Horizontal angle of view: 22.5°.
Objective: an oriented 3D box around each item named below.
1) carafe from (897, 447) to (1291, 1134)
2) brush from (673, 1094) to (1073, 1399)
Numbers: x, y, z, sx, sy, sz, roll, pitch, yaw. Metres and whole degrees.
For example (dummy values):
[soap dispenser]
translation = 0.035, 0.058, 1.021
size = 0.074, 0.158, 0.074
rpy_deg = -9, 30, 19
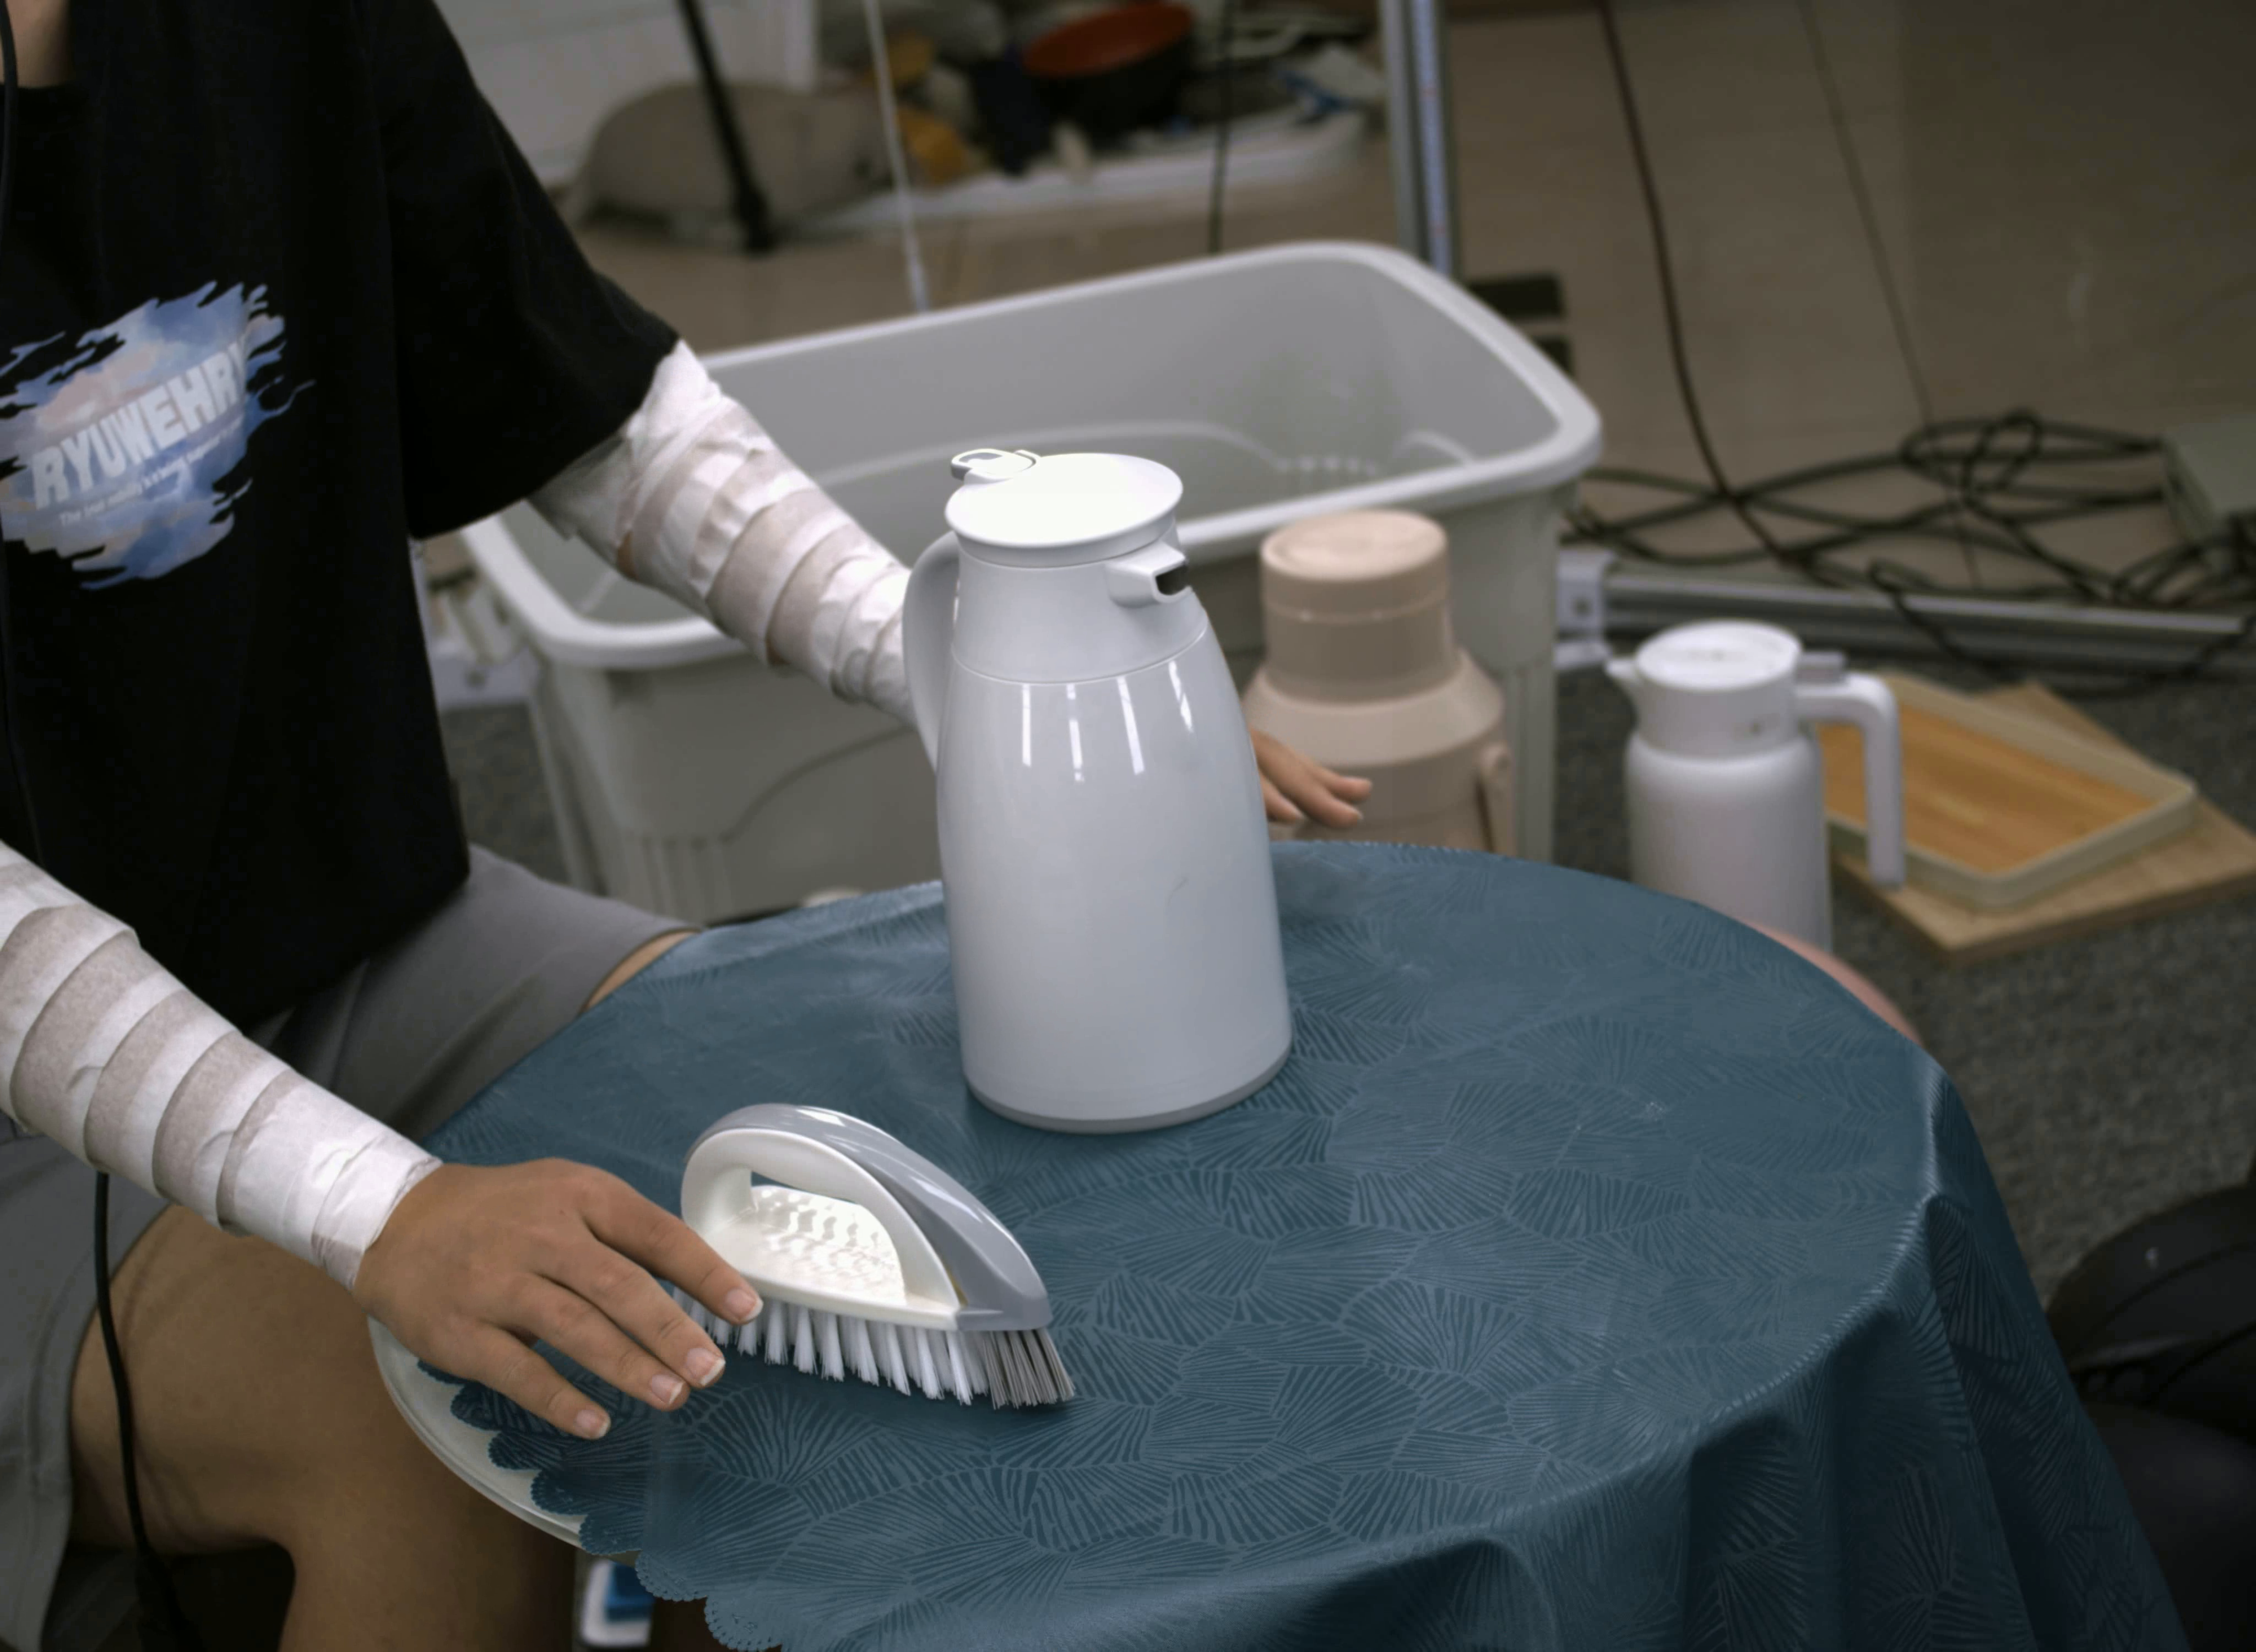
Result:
[carafe]
translation = -0.027, -0.024, 2.208
size = 0.131, 0.252, 0.166
rpy_deg = -26, 31, -35
[brush]
translation = -0.092, 0.147, 2.041
size = 0.174, 0.096, 0.061
rpy_deg = 15, 35, 37
